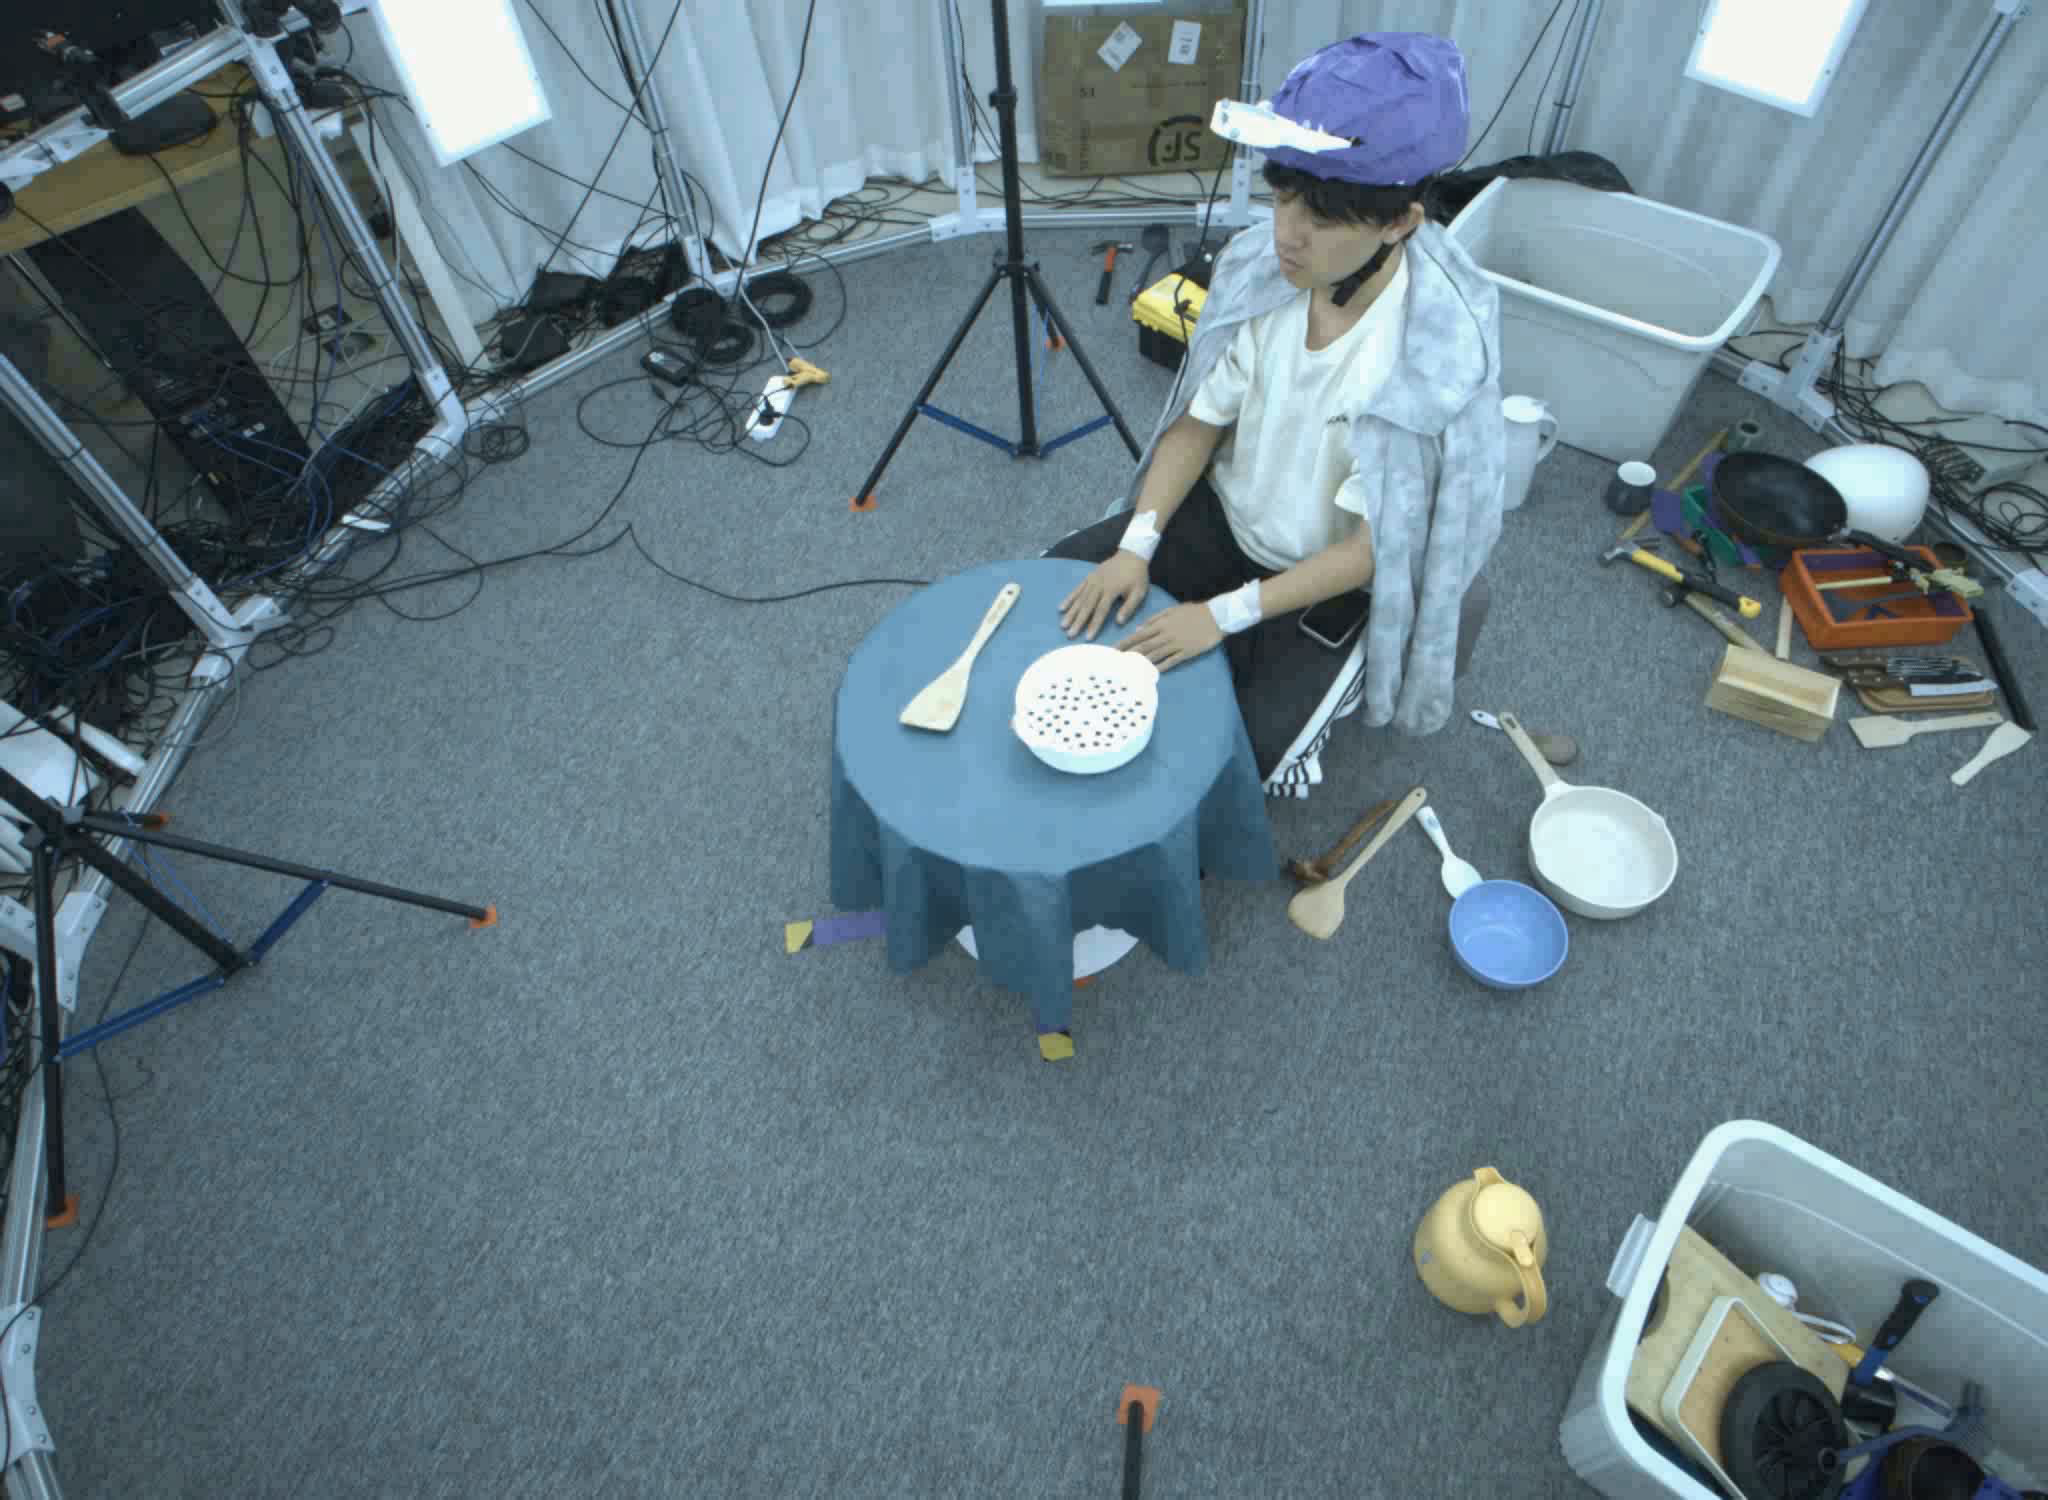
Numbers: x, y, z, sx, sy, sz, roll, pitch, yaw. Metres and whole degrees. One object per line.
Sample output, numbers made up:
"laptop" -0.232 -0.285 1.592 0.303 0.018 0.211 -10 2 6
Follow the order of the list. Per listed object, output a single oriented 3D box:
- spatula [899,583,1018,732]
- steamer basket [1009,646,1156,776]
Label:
"spatula" -0.084 -0.147 1.886 0.079 0.017 0.328 20 58 14
"steamer basket" 0.086 -0.055 1.785 0.232 0.070 0.198 -29 60 -19
